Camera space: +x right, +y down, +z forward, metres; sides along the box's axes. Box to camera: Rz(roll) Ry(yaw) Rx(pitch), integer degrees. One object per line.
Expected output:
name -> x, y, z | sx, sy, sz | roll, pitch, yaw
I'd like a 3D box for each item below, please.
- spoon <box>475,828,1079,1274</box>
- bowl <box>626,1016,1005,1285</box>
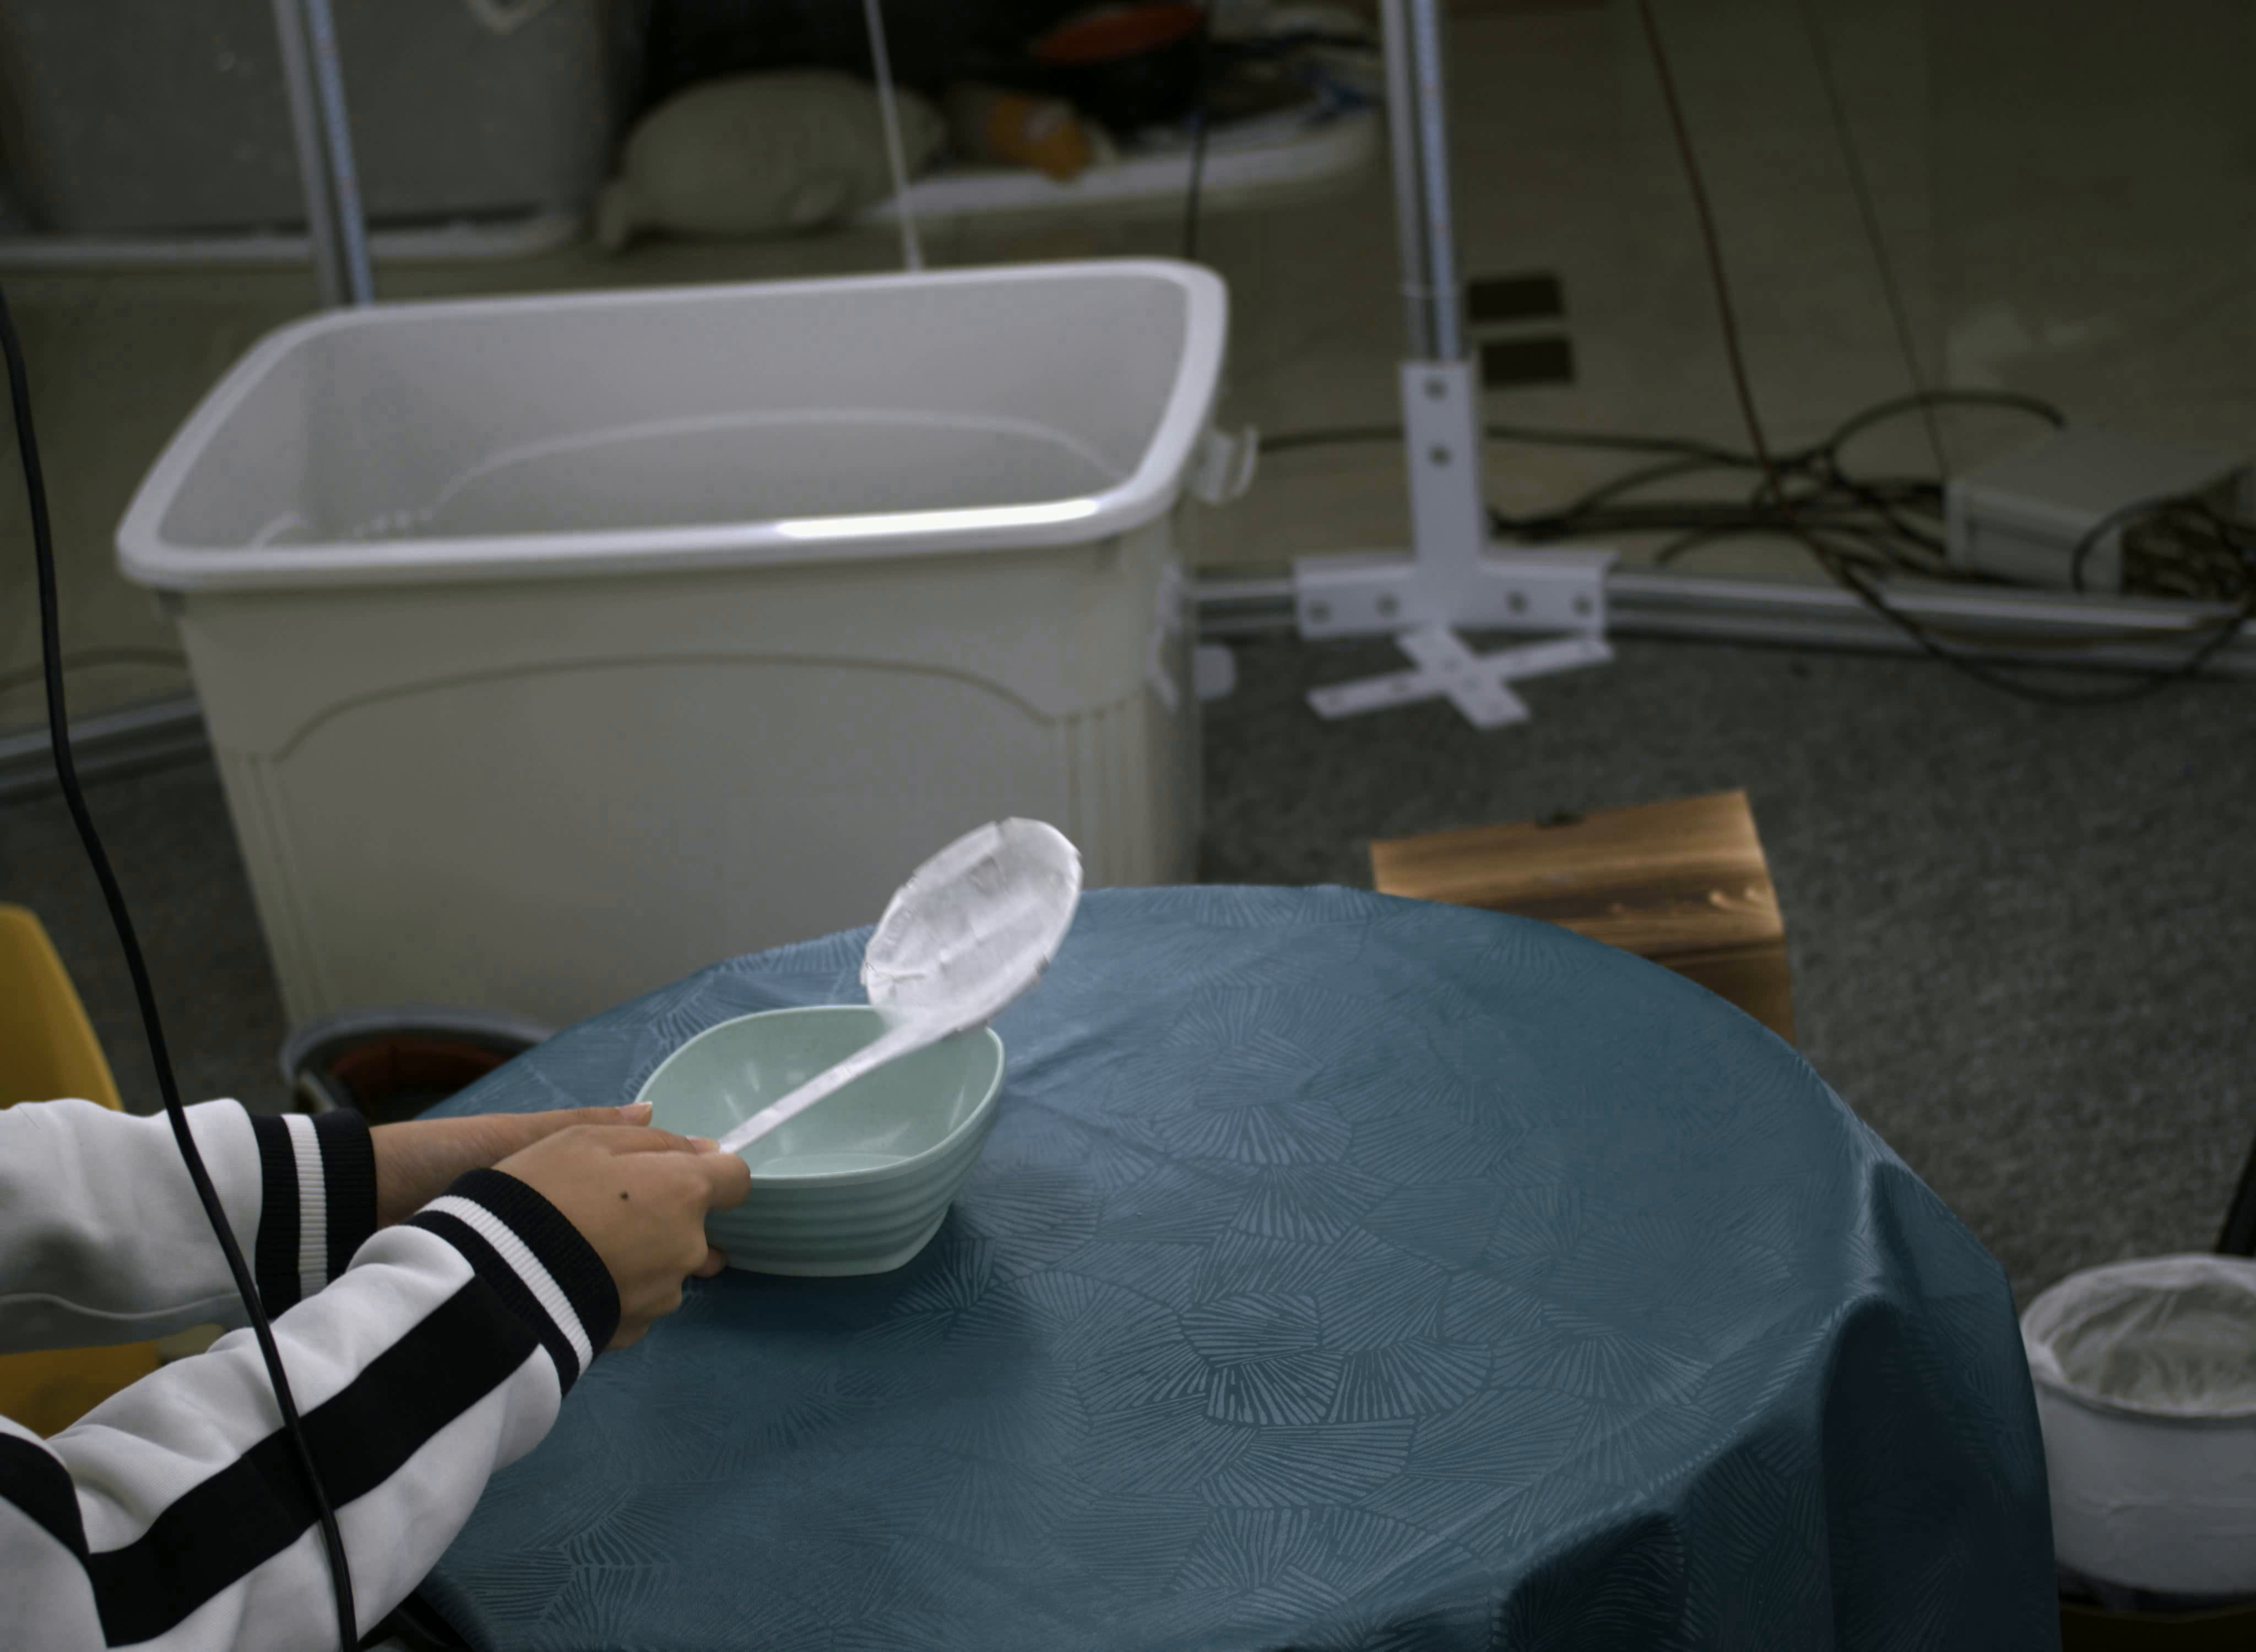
spoon -> -0.127, 0.075, 1.971 | 0.275, 0.060, 0.100 | -26, 19, -38
bowl -> -0.114, 0.127, 2.139 | 0.151, 0.059, 0.149 | -6, 25, 3
